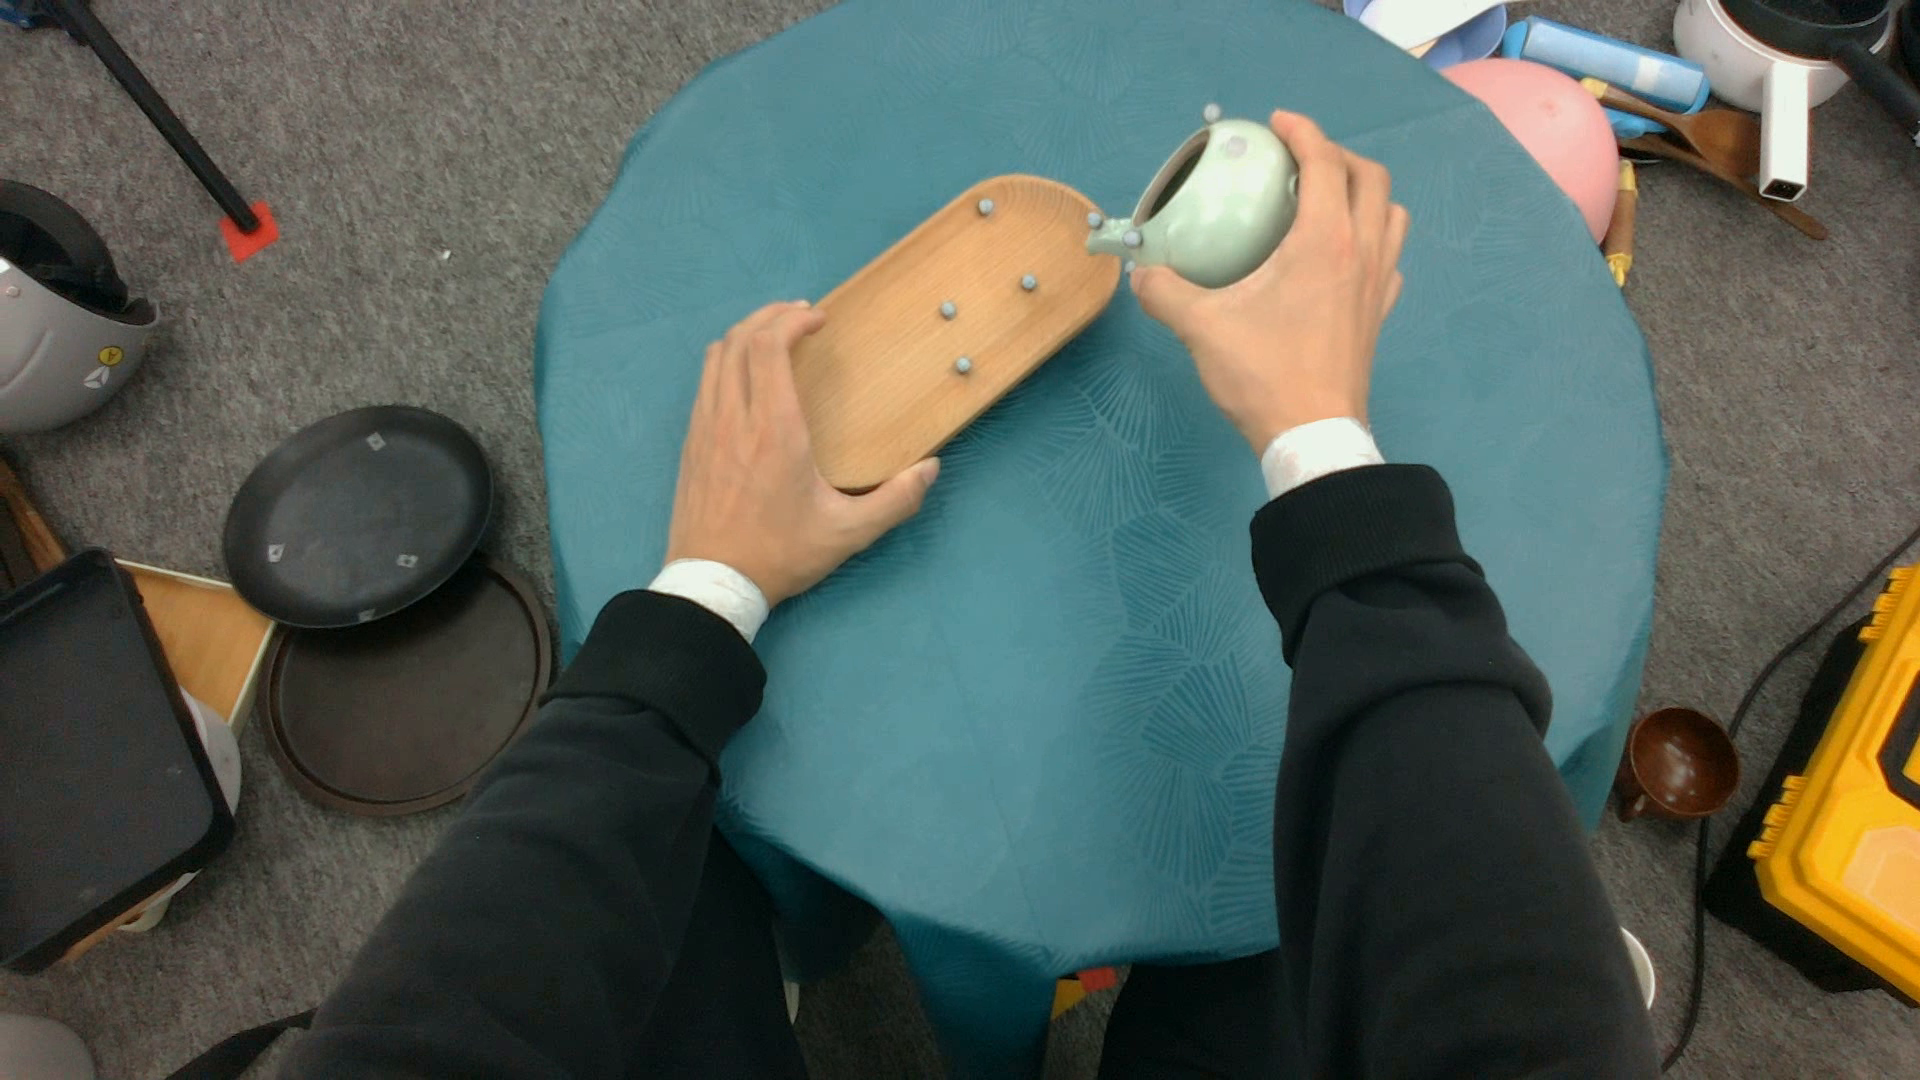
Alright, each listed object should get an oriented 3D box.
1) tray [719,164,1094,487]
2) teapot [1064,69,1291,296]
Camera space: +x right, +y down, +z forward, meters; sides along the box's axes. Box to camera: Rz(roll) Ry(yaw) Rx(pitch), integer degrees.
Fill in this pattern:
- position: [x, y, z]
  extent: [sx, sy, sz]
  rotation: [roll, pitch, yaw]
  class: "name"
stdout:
- position: [-0.024, -0.114, 0.715]
  extent: [0.102, 0.020, 0.232]
  rotation: [43, 70, 13]
  class: "tray"
- position: [0.109, -0.158, 0.645]
  extent: [0.075, 0.143, 0.089]
  rotation: [32, 63, -13]
  class: "teapot"
